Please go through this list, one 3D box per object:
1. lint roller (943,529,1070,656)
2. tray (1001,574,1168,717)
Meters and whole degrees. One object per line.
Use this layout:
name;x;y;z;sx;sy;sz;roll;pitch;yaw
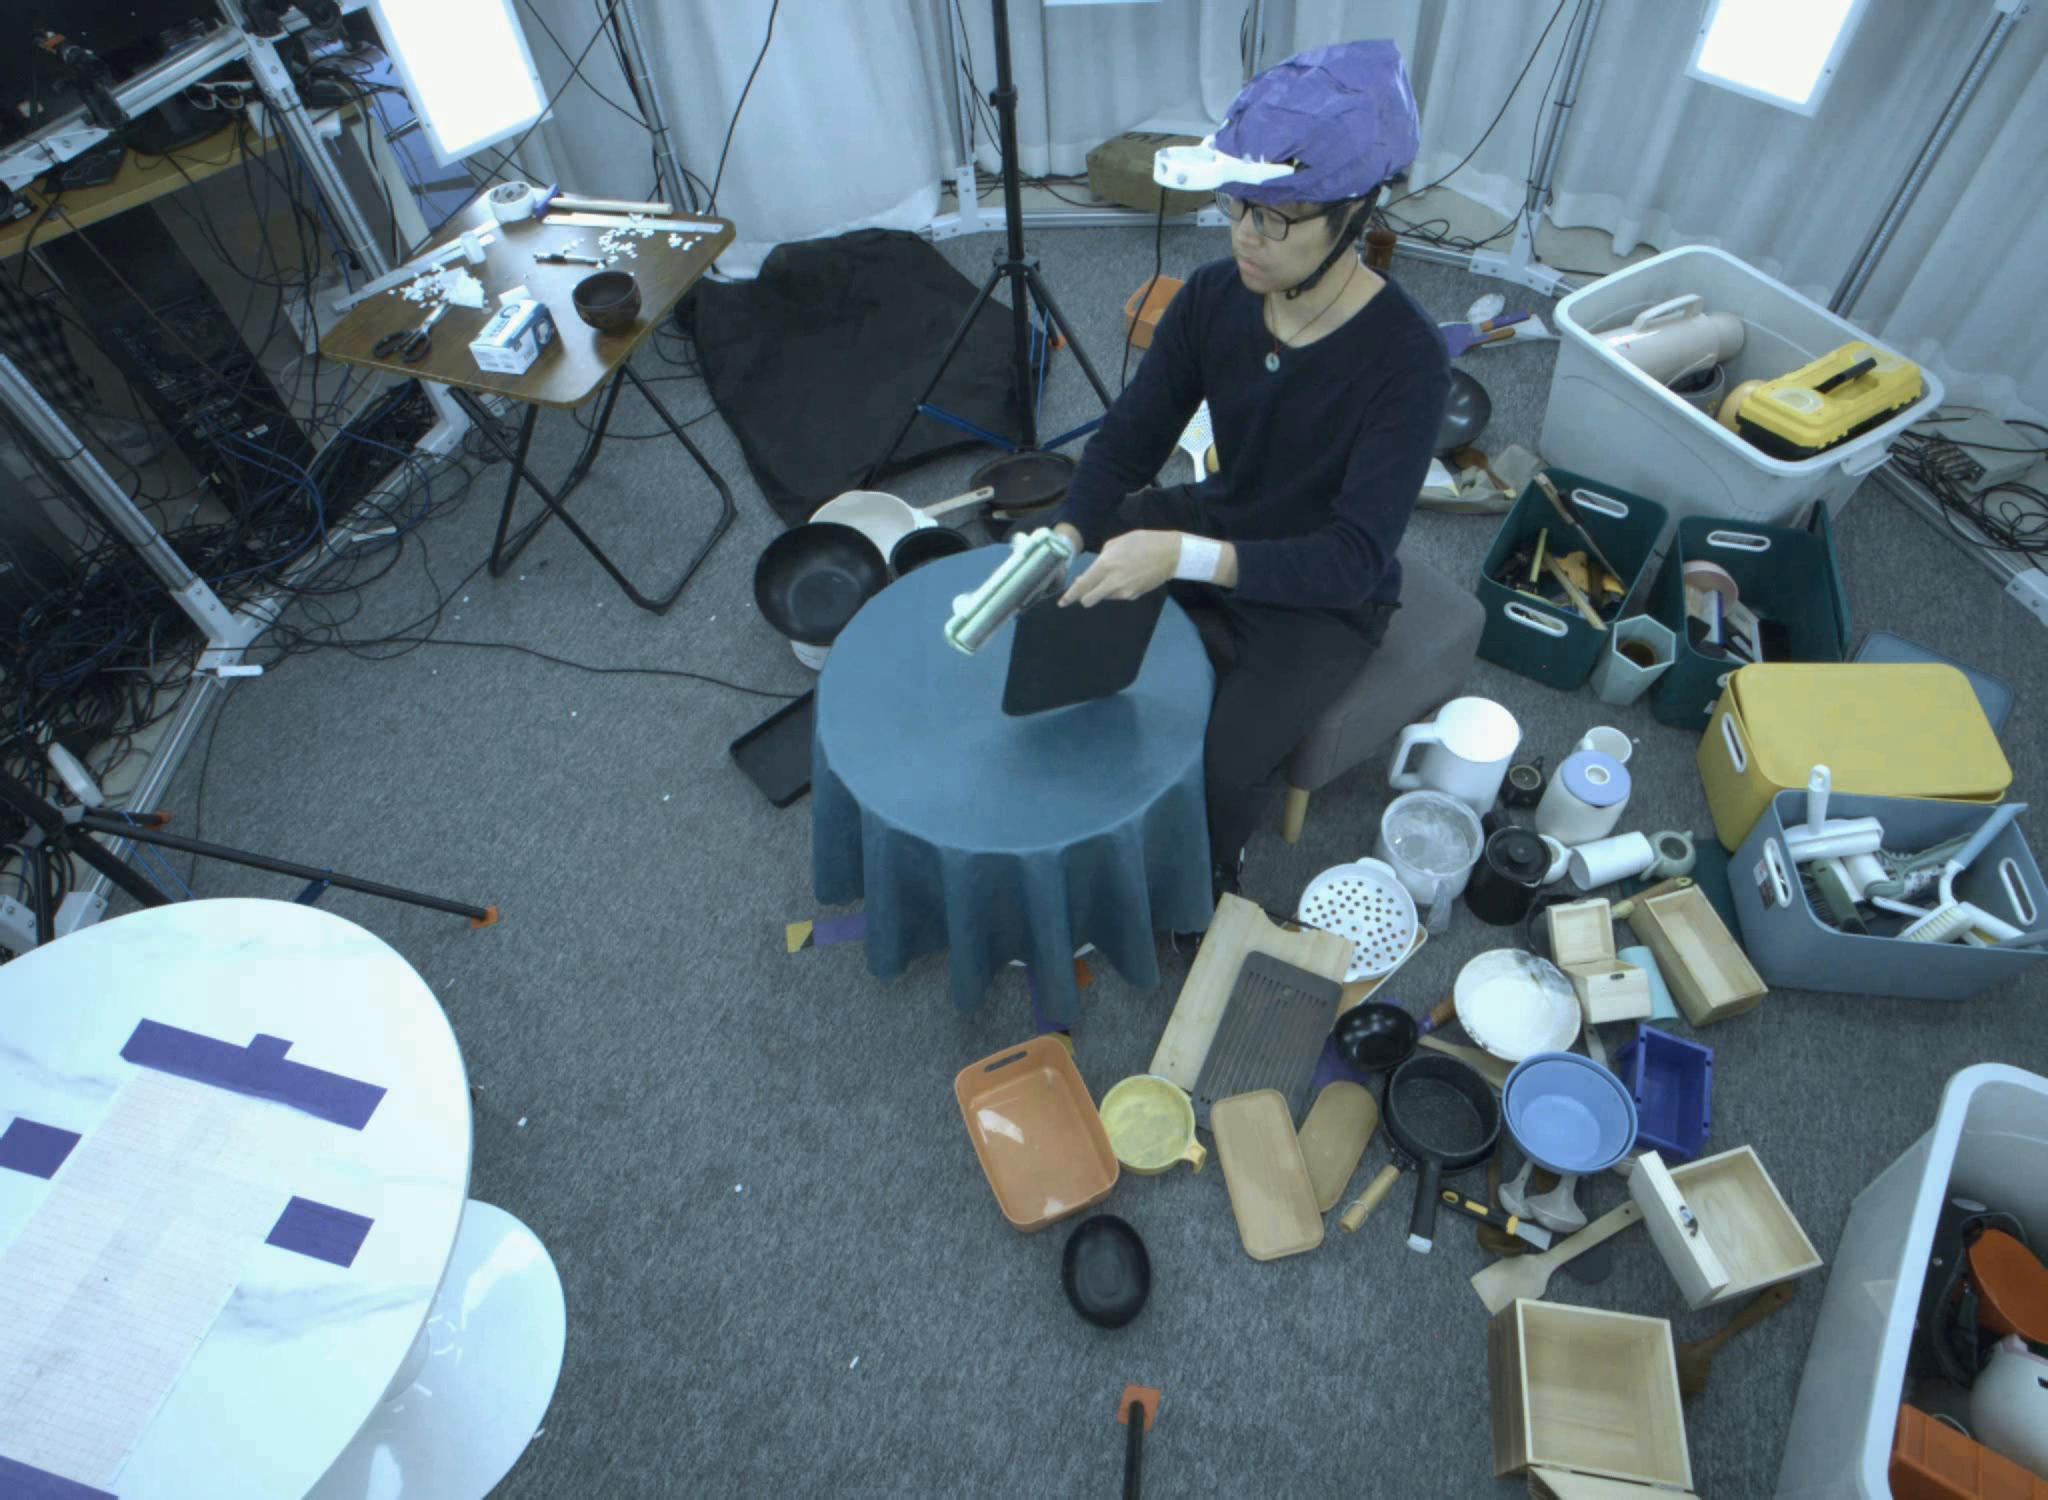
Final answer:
lint roller;-0.017;-0.219;1.665;0.198;0.184;0.082;-44;88;15
tray;0.078;-0.138;1.677;0.213;0.326;0.009;-14;66;-14
